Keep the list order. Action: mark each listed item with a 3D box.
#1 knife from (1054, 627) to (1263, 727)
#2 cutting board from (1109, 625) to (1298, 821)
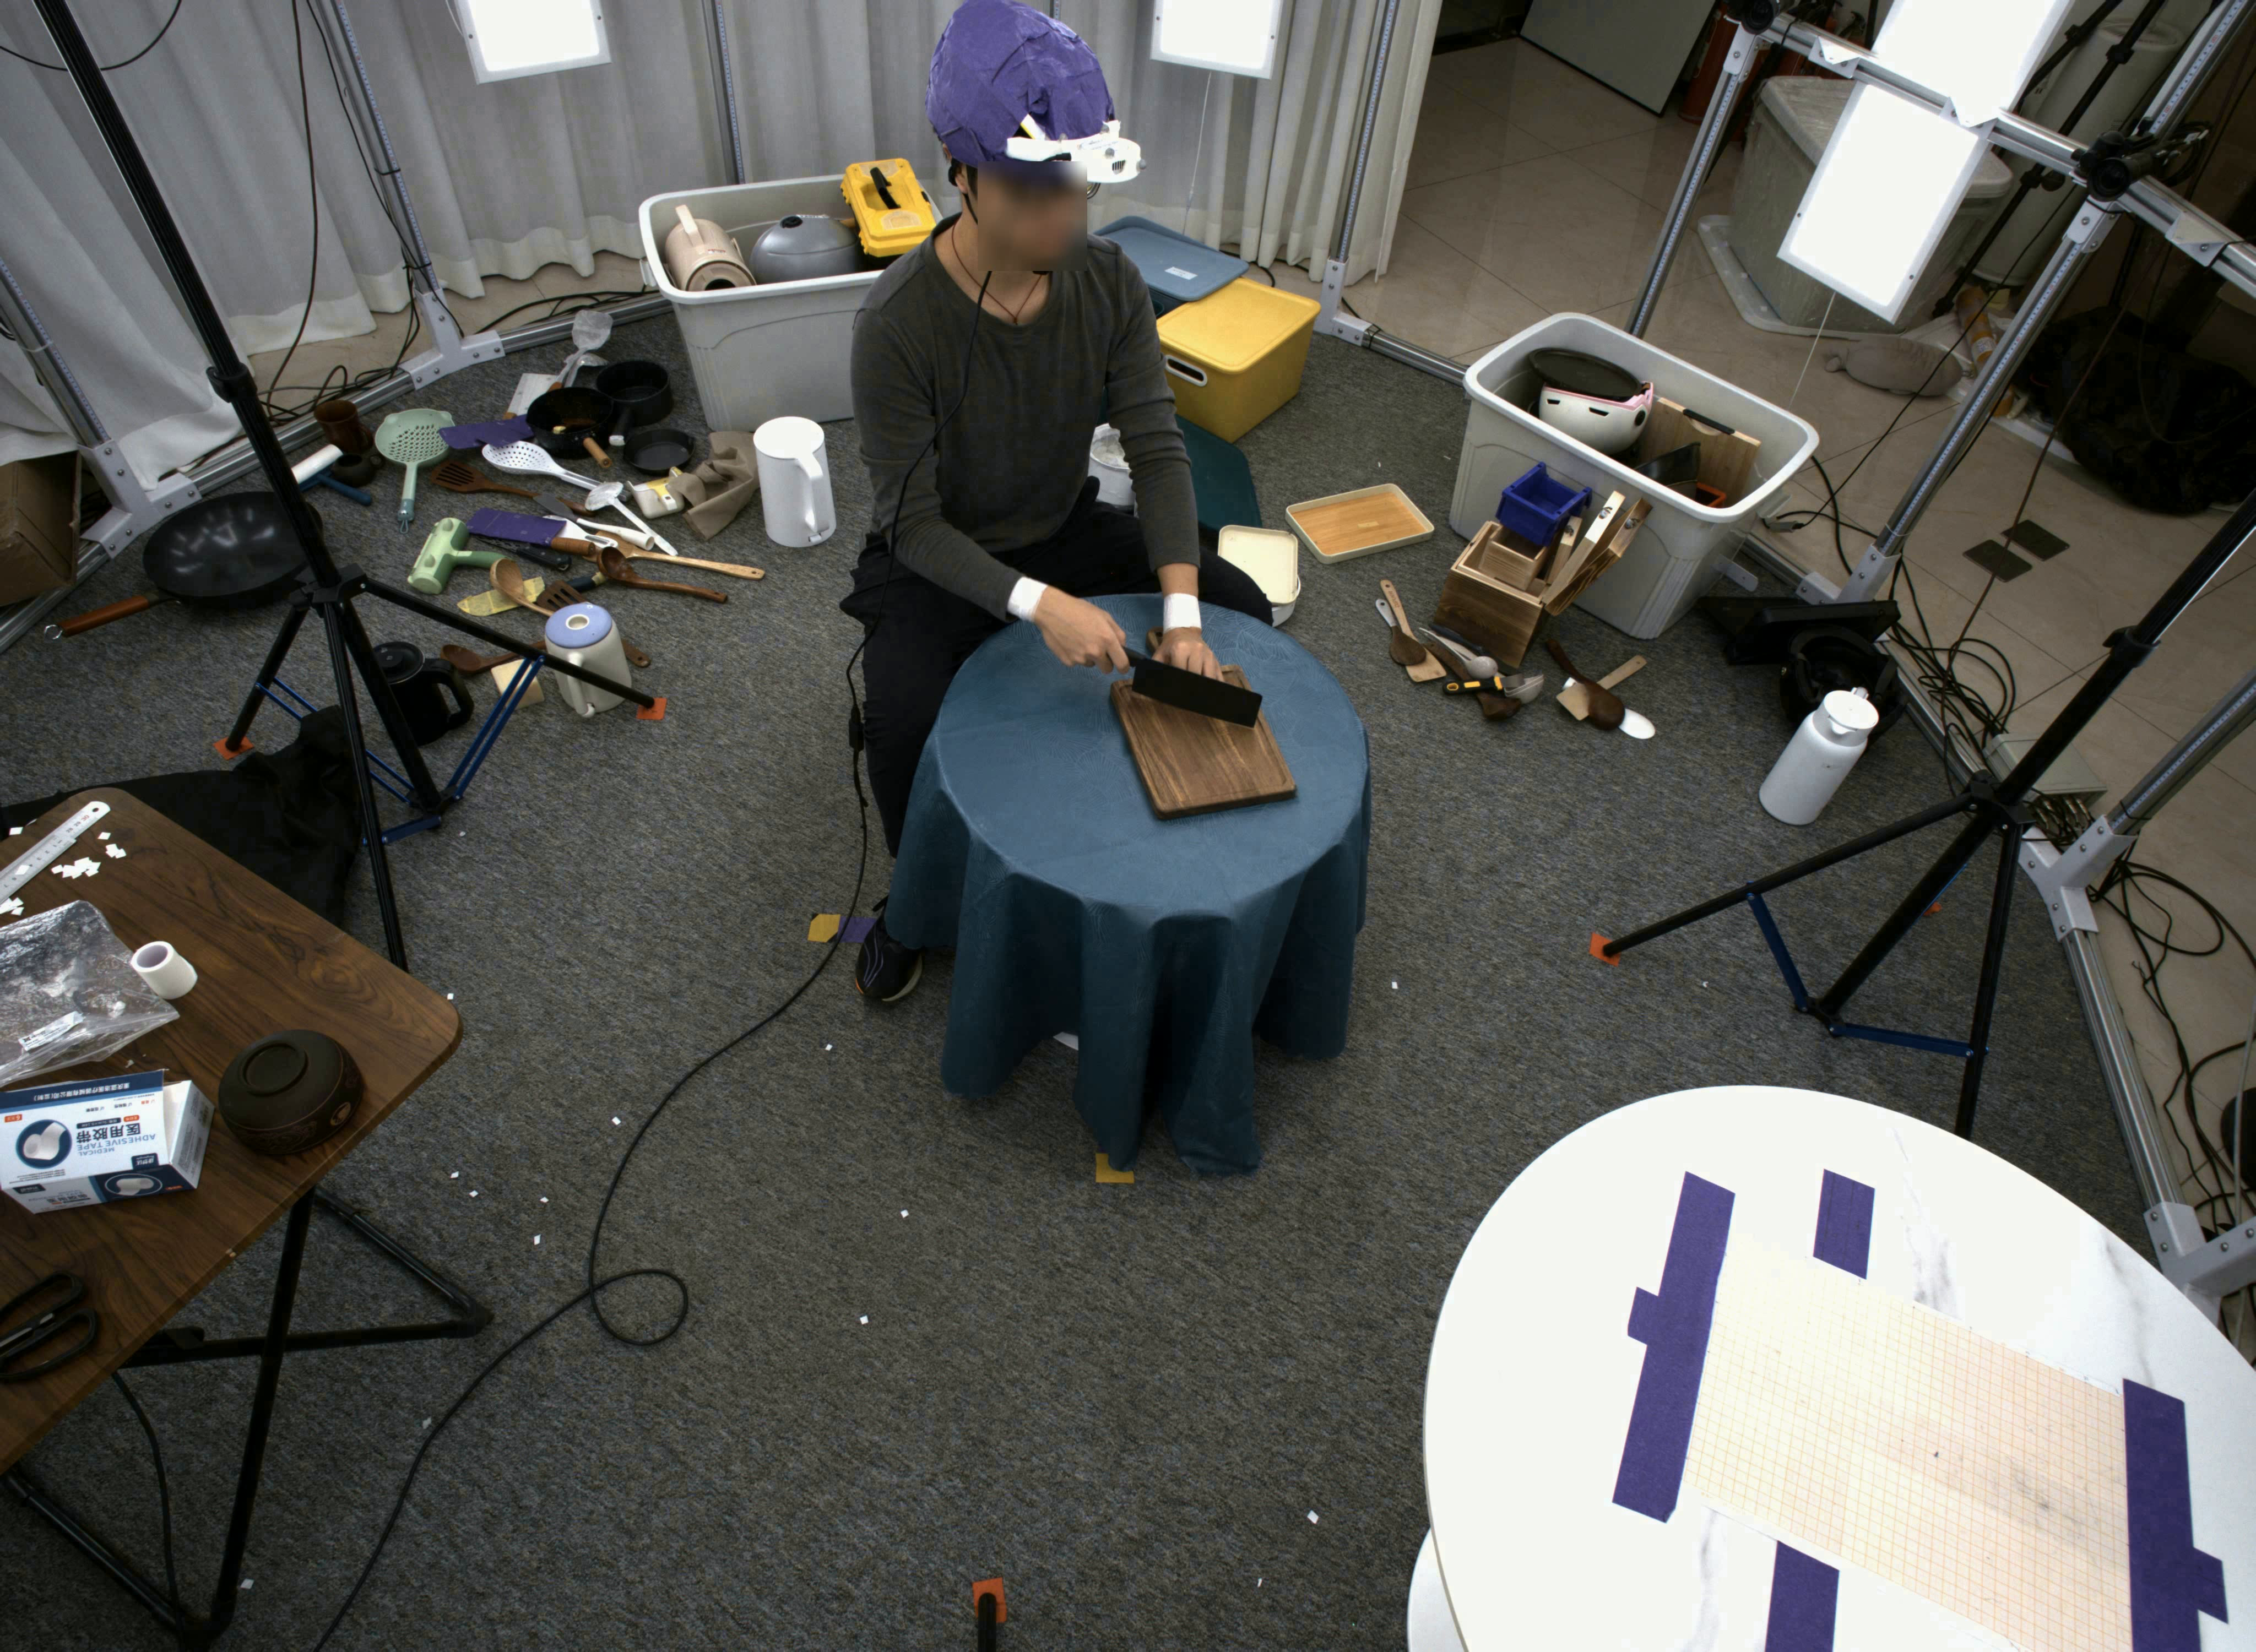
[{"bbox_3d":[0.039,-0.207,1.773,0.303,0.079,0.021,23,44,5],"label":"knife"},{"bbox_3d":[0.088,-0.159,1.797,0.201,0.022,0.361,-9,50,-13],"label":"cutting board"}]
